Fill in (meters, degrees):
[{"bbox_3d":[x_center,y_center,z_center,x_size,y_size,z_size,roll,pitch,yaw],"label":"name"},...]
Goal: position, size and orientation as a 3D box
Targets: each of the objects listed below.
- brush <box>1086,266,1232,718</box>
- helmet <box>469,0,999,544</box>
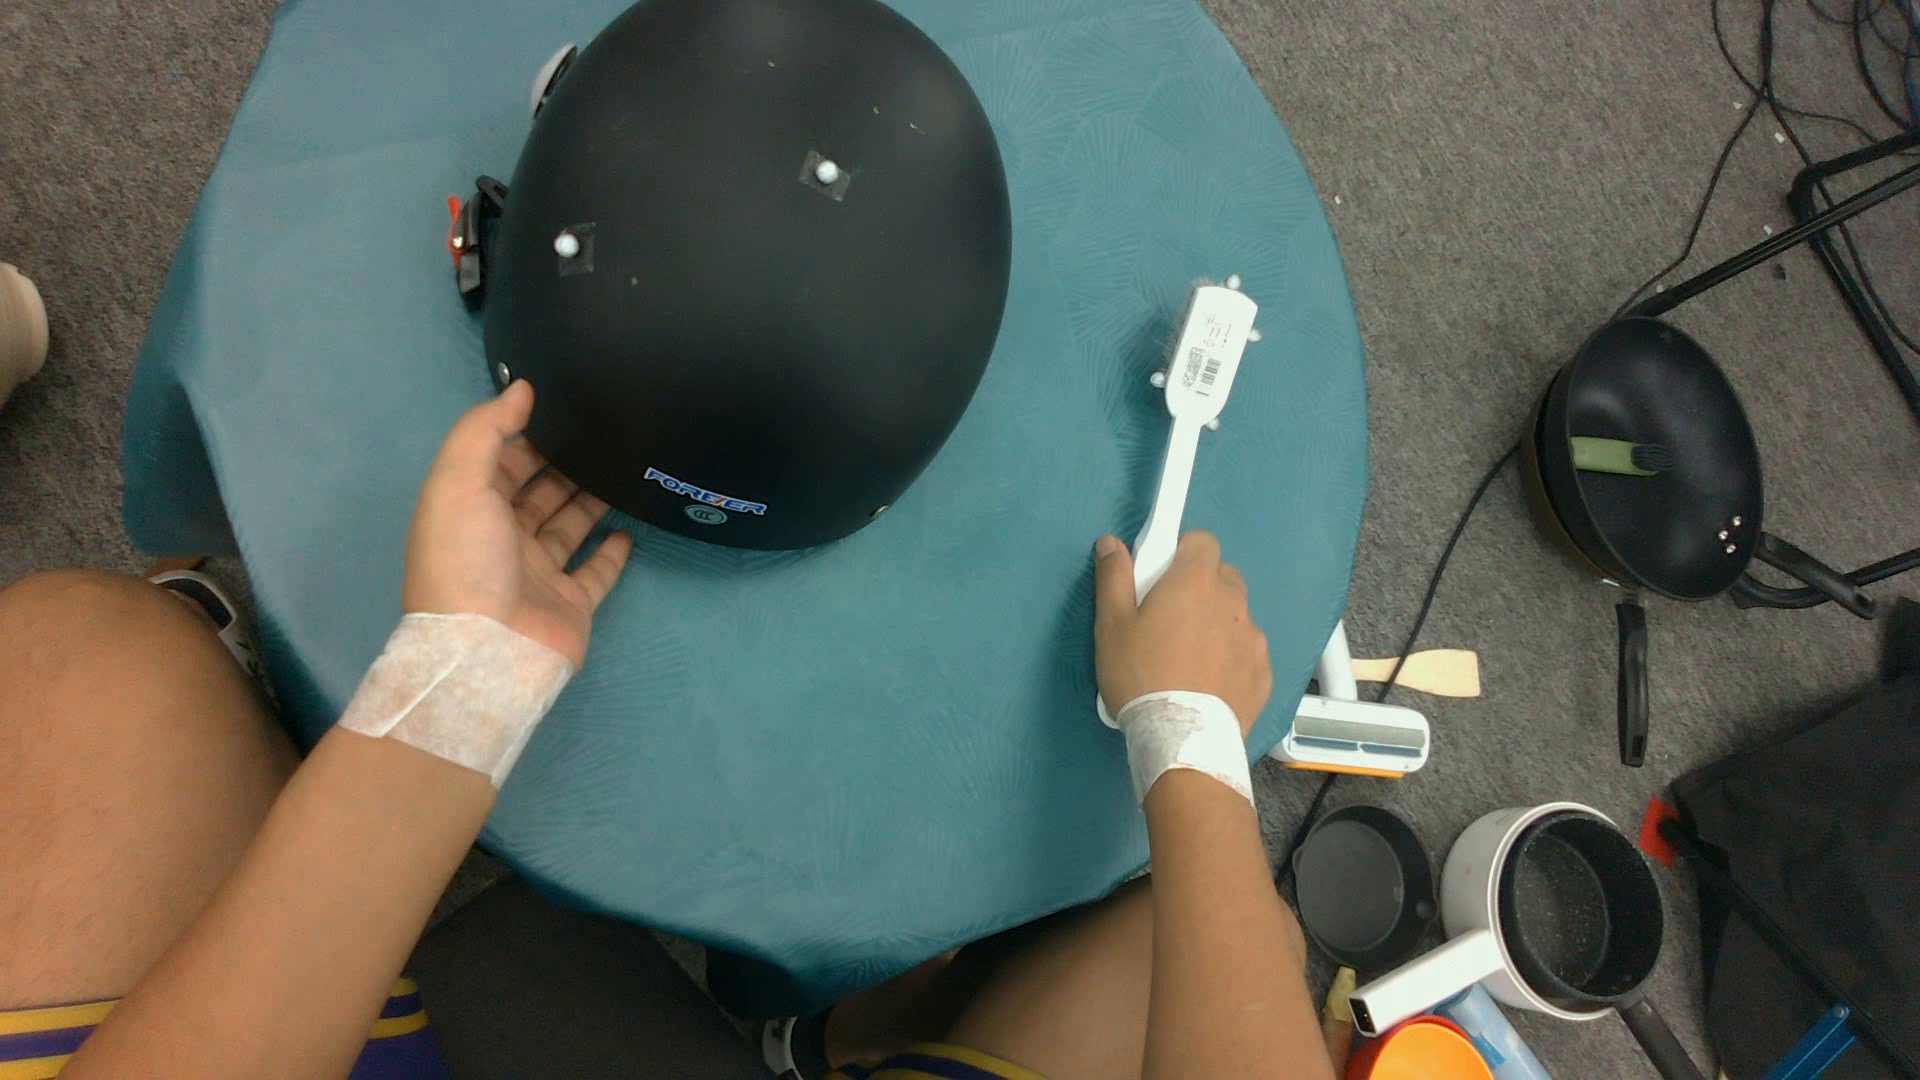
[{"bbox_3d":[0.099,-0.027,0.723,0.034,0.050,0.244,14,86,-5],"label":"brush"},{"bbox_3d":[-0.084,-0.140,0.602,0.230,0.166,0.274,23,69,-19],"label":"helmet"}]
